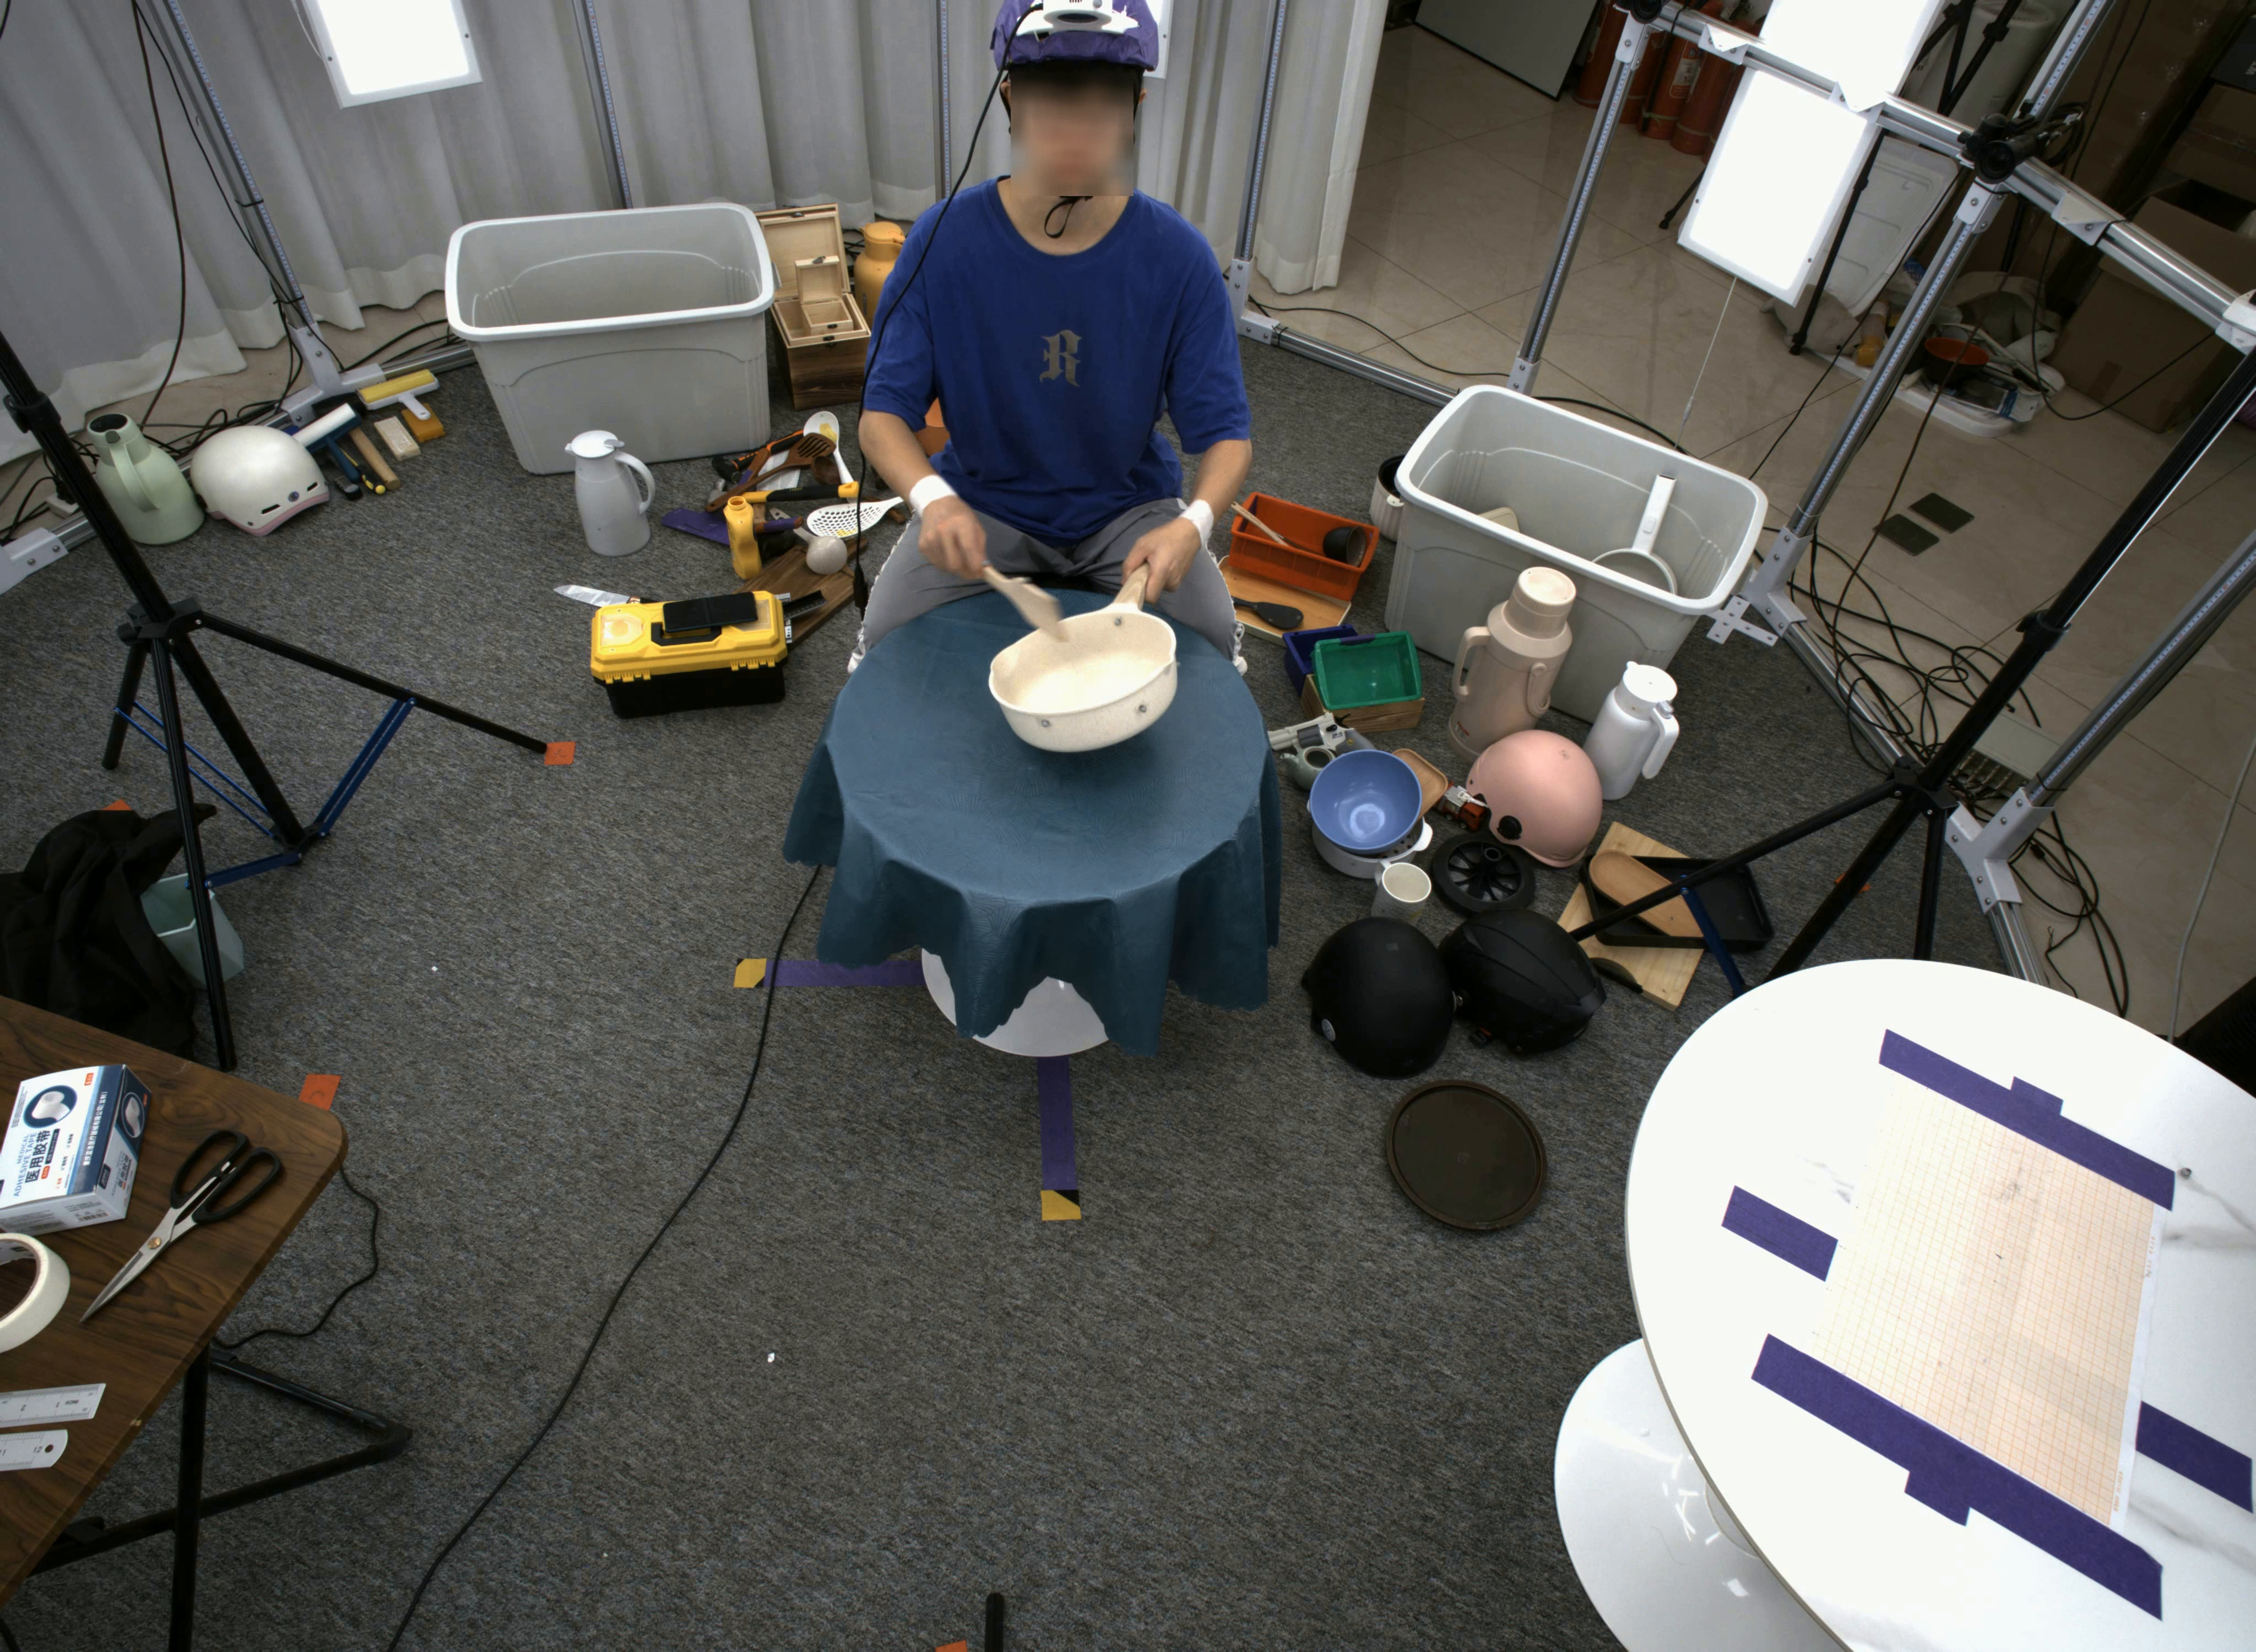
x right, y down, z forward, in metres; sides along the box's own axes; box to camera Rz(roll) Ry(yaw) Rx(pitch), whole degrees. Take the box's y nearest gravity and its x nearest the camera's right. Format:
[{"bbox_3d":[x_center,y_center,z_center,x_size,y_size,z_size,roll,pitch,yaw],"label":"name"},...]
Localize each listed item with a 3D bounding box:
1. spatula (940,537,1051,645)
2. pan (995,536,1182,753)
[{"bbox_3d":[-0.184,-0.324,1.711,0.011,0.070,0.299,-32,44,-14],"label":"spatula"},{"bbox_3d":[-0.013,-0.251,1.764,0.264,0.099,0.443,2,39,26],"label":"pan"}]
